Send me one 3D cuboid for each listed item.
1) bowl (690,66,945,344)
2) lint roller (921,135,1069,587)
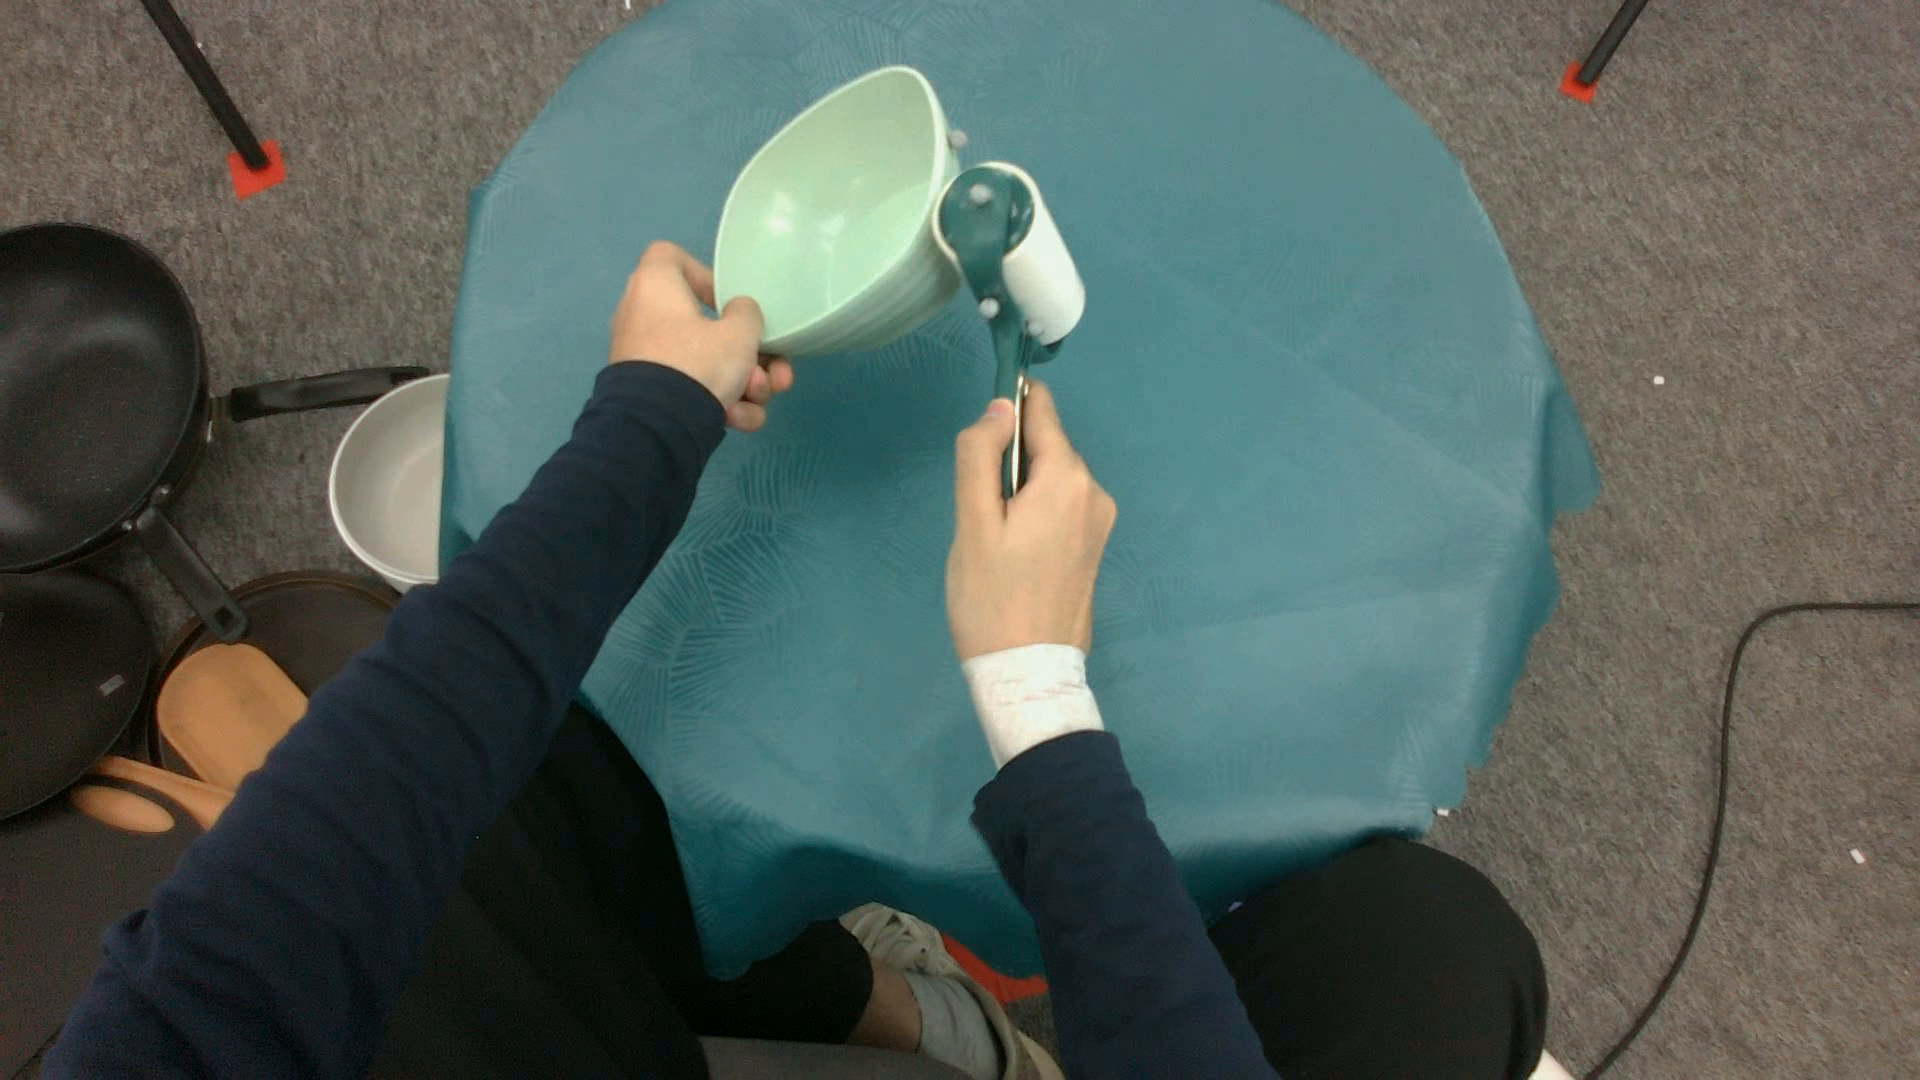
[{"bbox_3d":[-0.057,-0.149,0.658,0.151,0.058,0.152,-20,51,27],"label":"bowl"},{"bbox_3d":[0.021,-0.070,0.610,0.048,0.134,0.180,-6,77,13],"label":"lint roller"}]
